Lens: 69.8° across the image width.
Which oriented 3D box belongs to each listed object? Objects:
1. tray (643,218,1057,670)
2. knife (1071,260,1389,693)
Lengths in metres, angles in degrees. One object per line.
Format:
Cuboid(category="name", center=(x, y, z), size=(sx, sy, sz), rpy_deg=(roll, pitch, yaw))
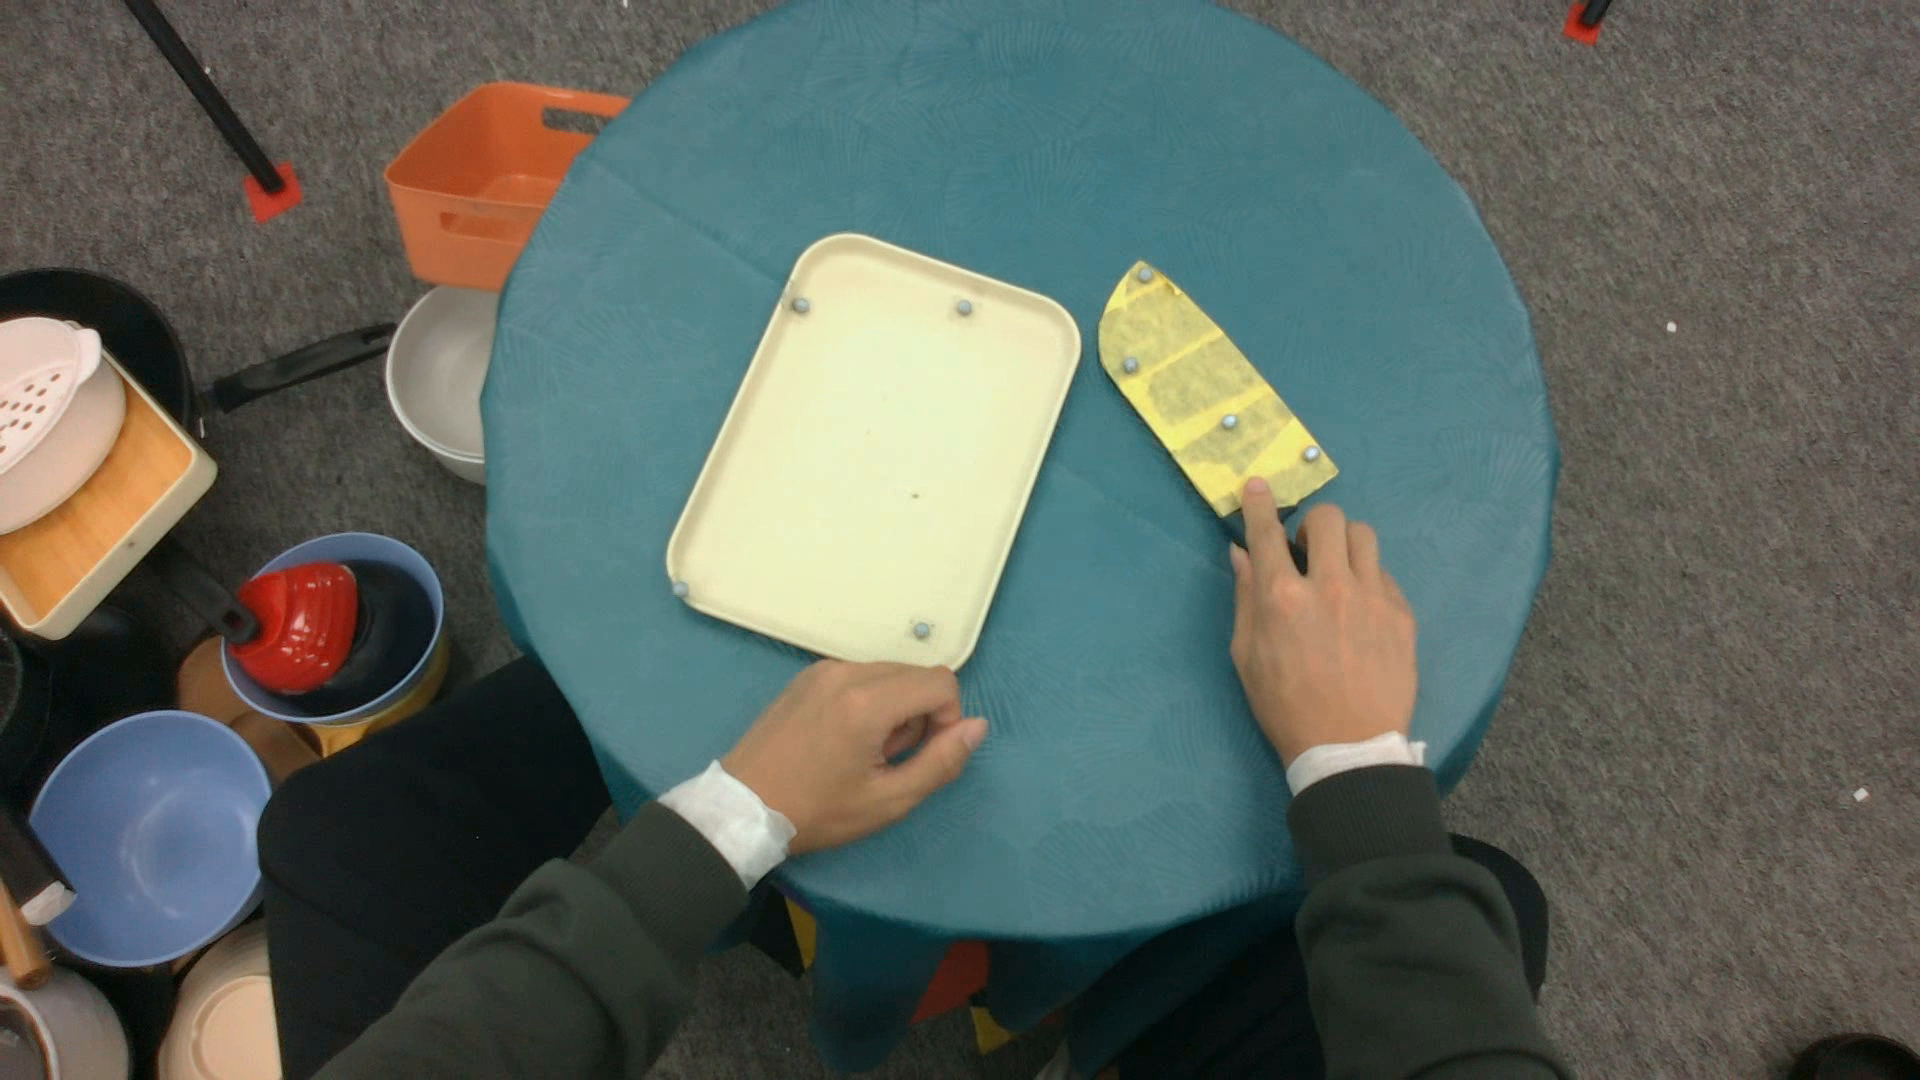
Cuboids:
Cuboid(category="tray", center=(-0.055, -0.057, 0.749), size=(0.171, 0.017, 0.240), rpy_deg=(19, 70, 2))
Cuboid(category="knife", center=(0.152, -0.045, 0.759), size=(0.081, 0.027, 0.290), rpy_deg=(-29, 73, -10))
